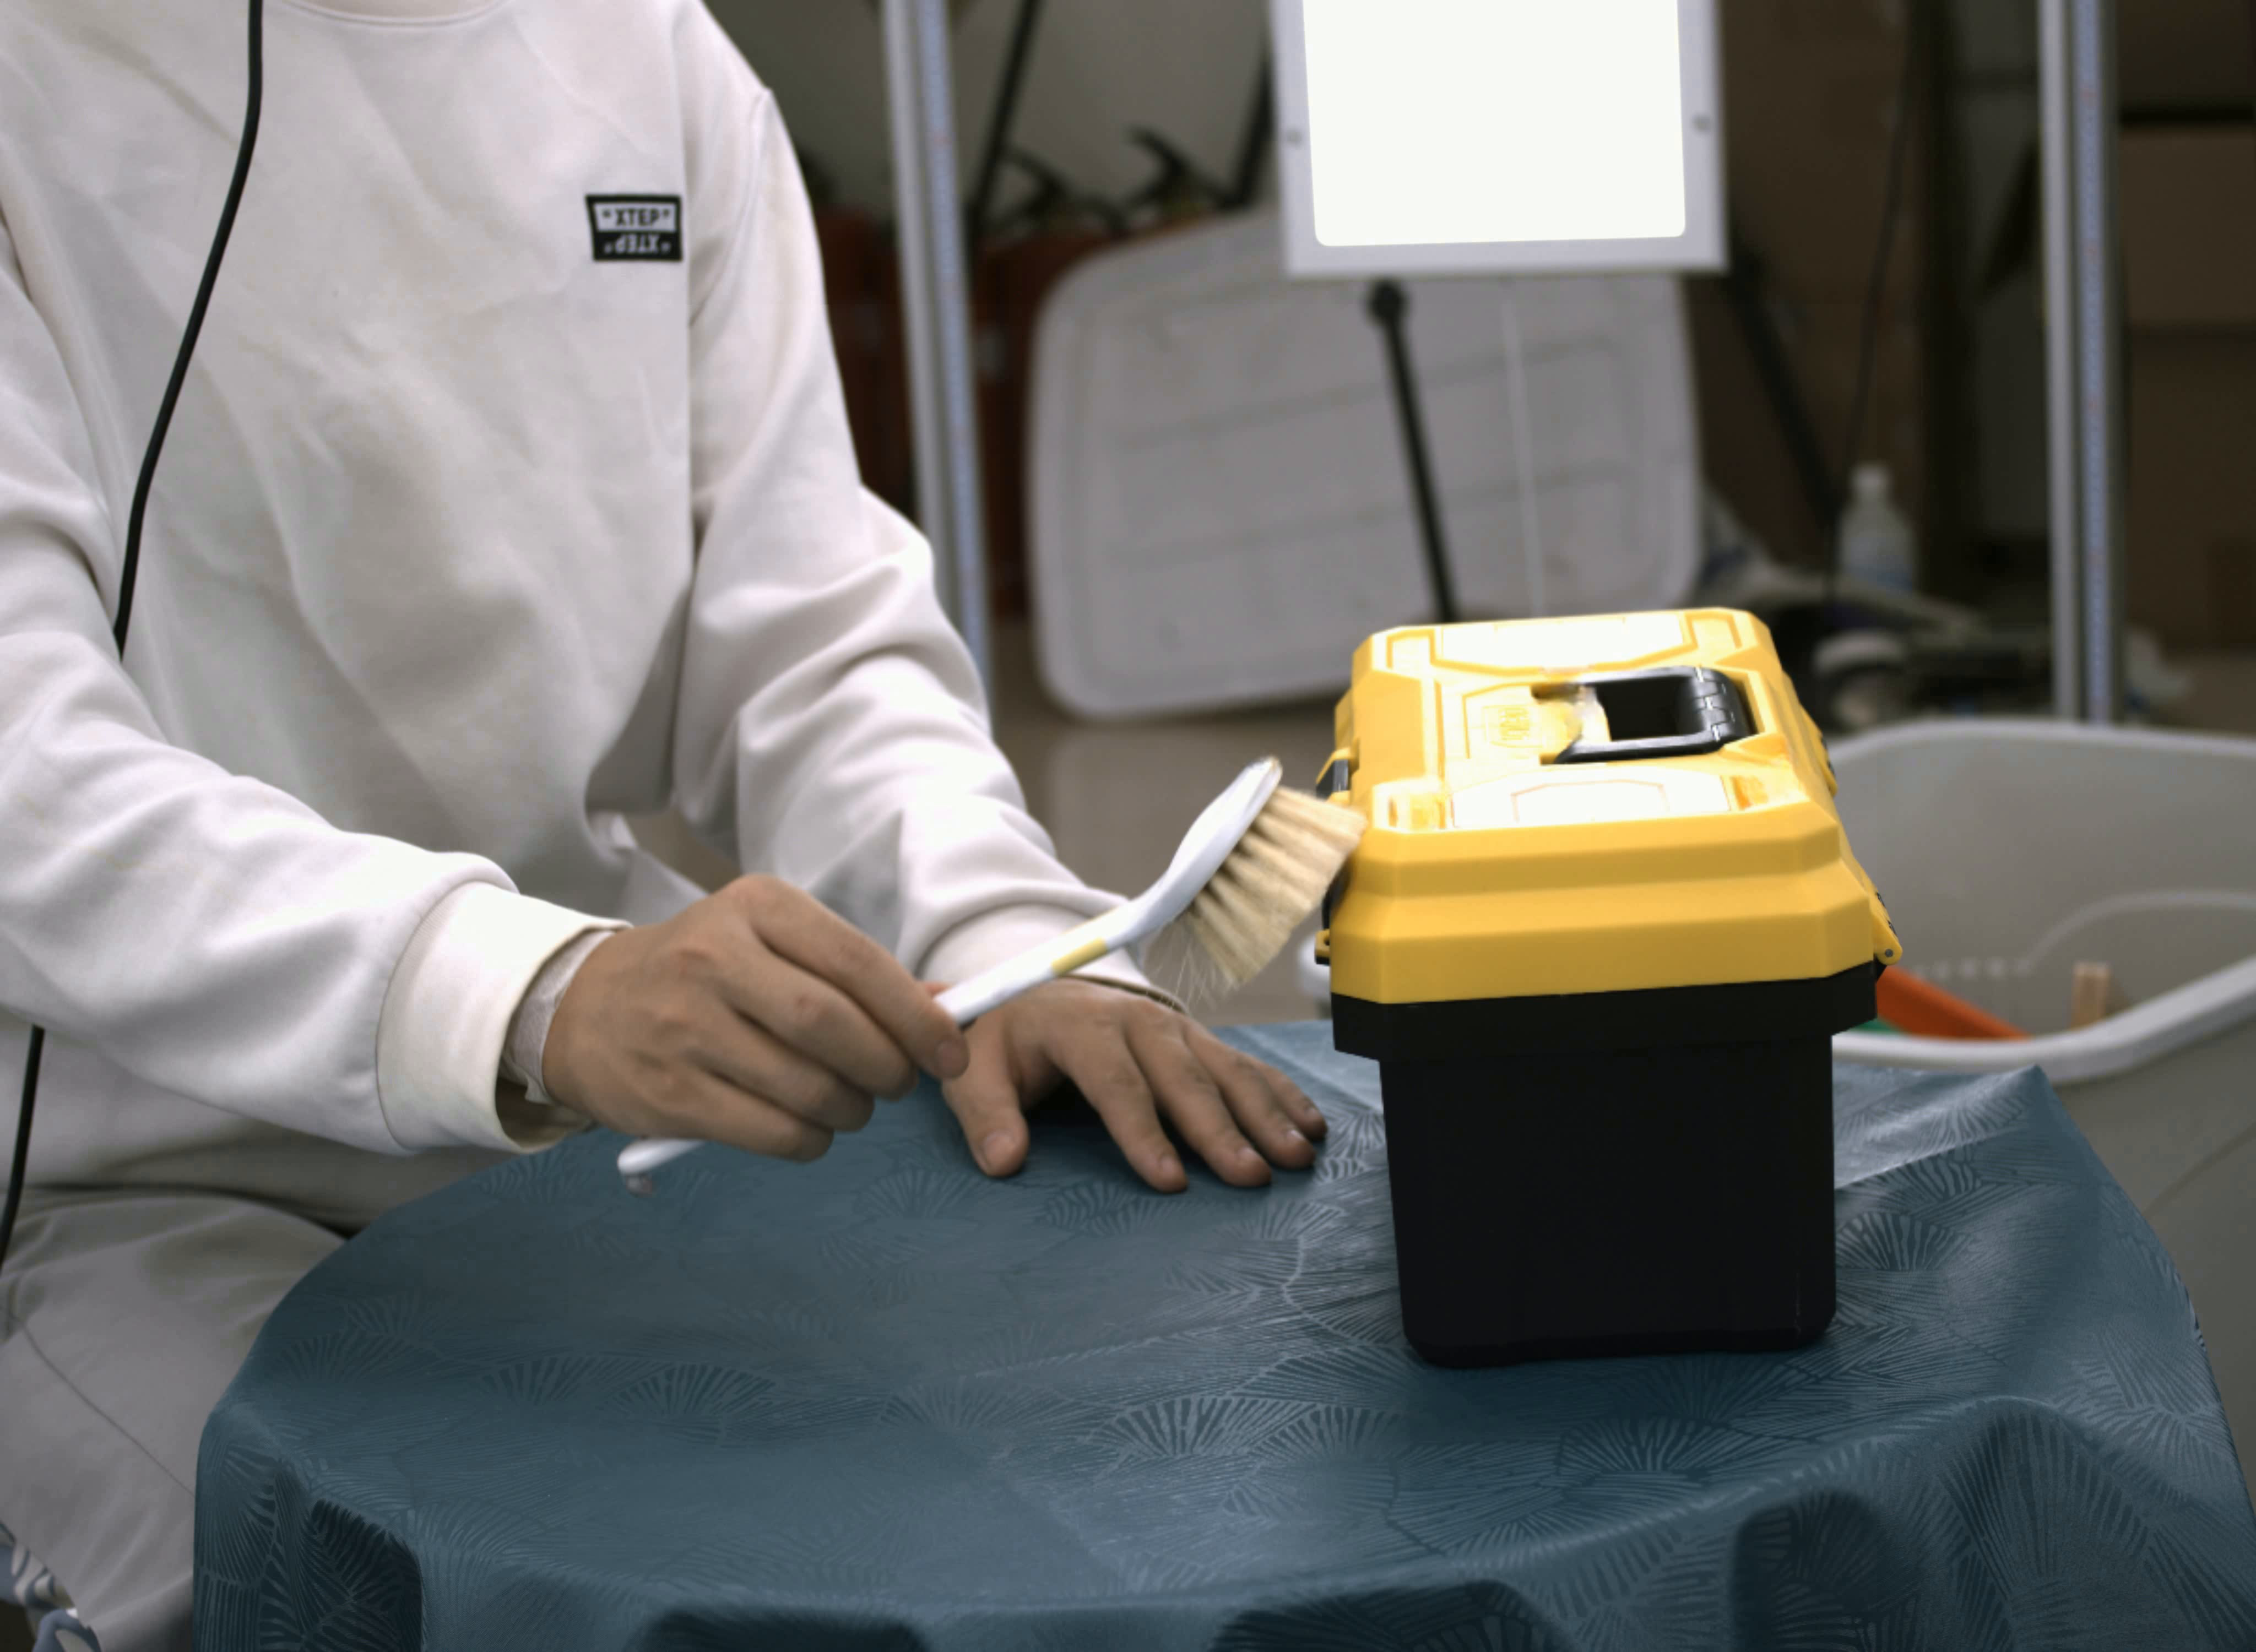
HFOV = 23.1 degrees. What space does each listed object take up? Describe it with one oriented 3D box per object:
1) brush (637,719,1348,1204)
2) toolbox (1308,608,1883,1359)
[{"bbox_3d":[-0.039,0.061,1.715,0.270,0.056,0.067,-37,-7,19],"label":"brush"},{"bbox_3d":[0.151,0.044,1.813,0.181,0.173,0.349,-3,13,4],"label":"toolbox"}]
